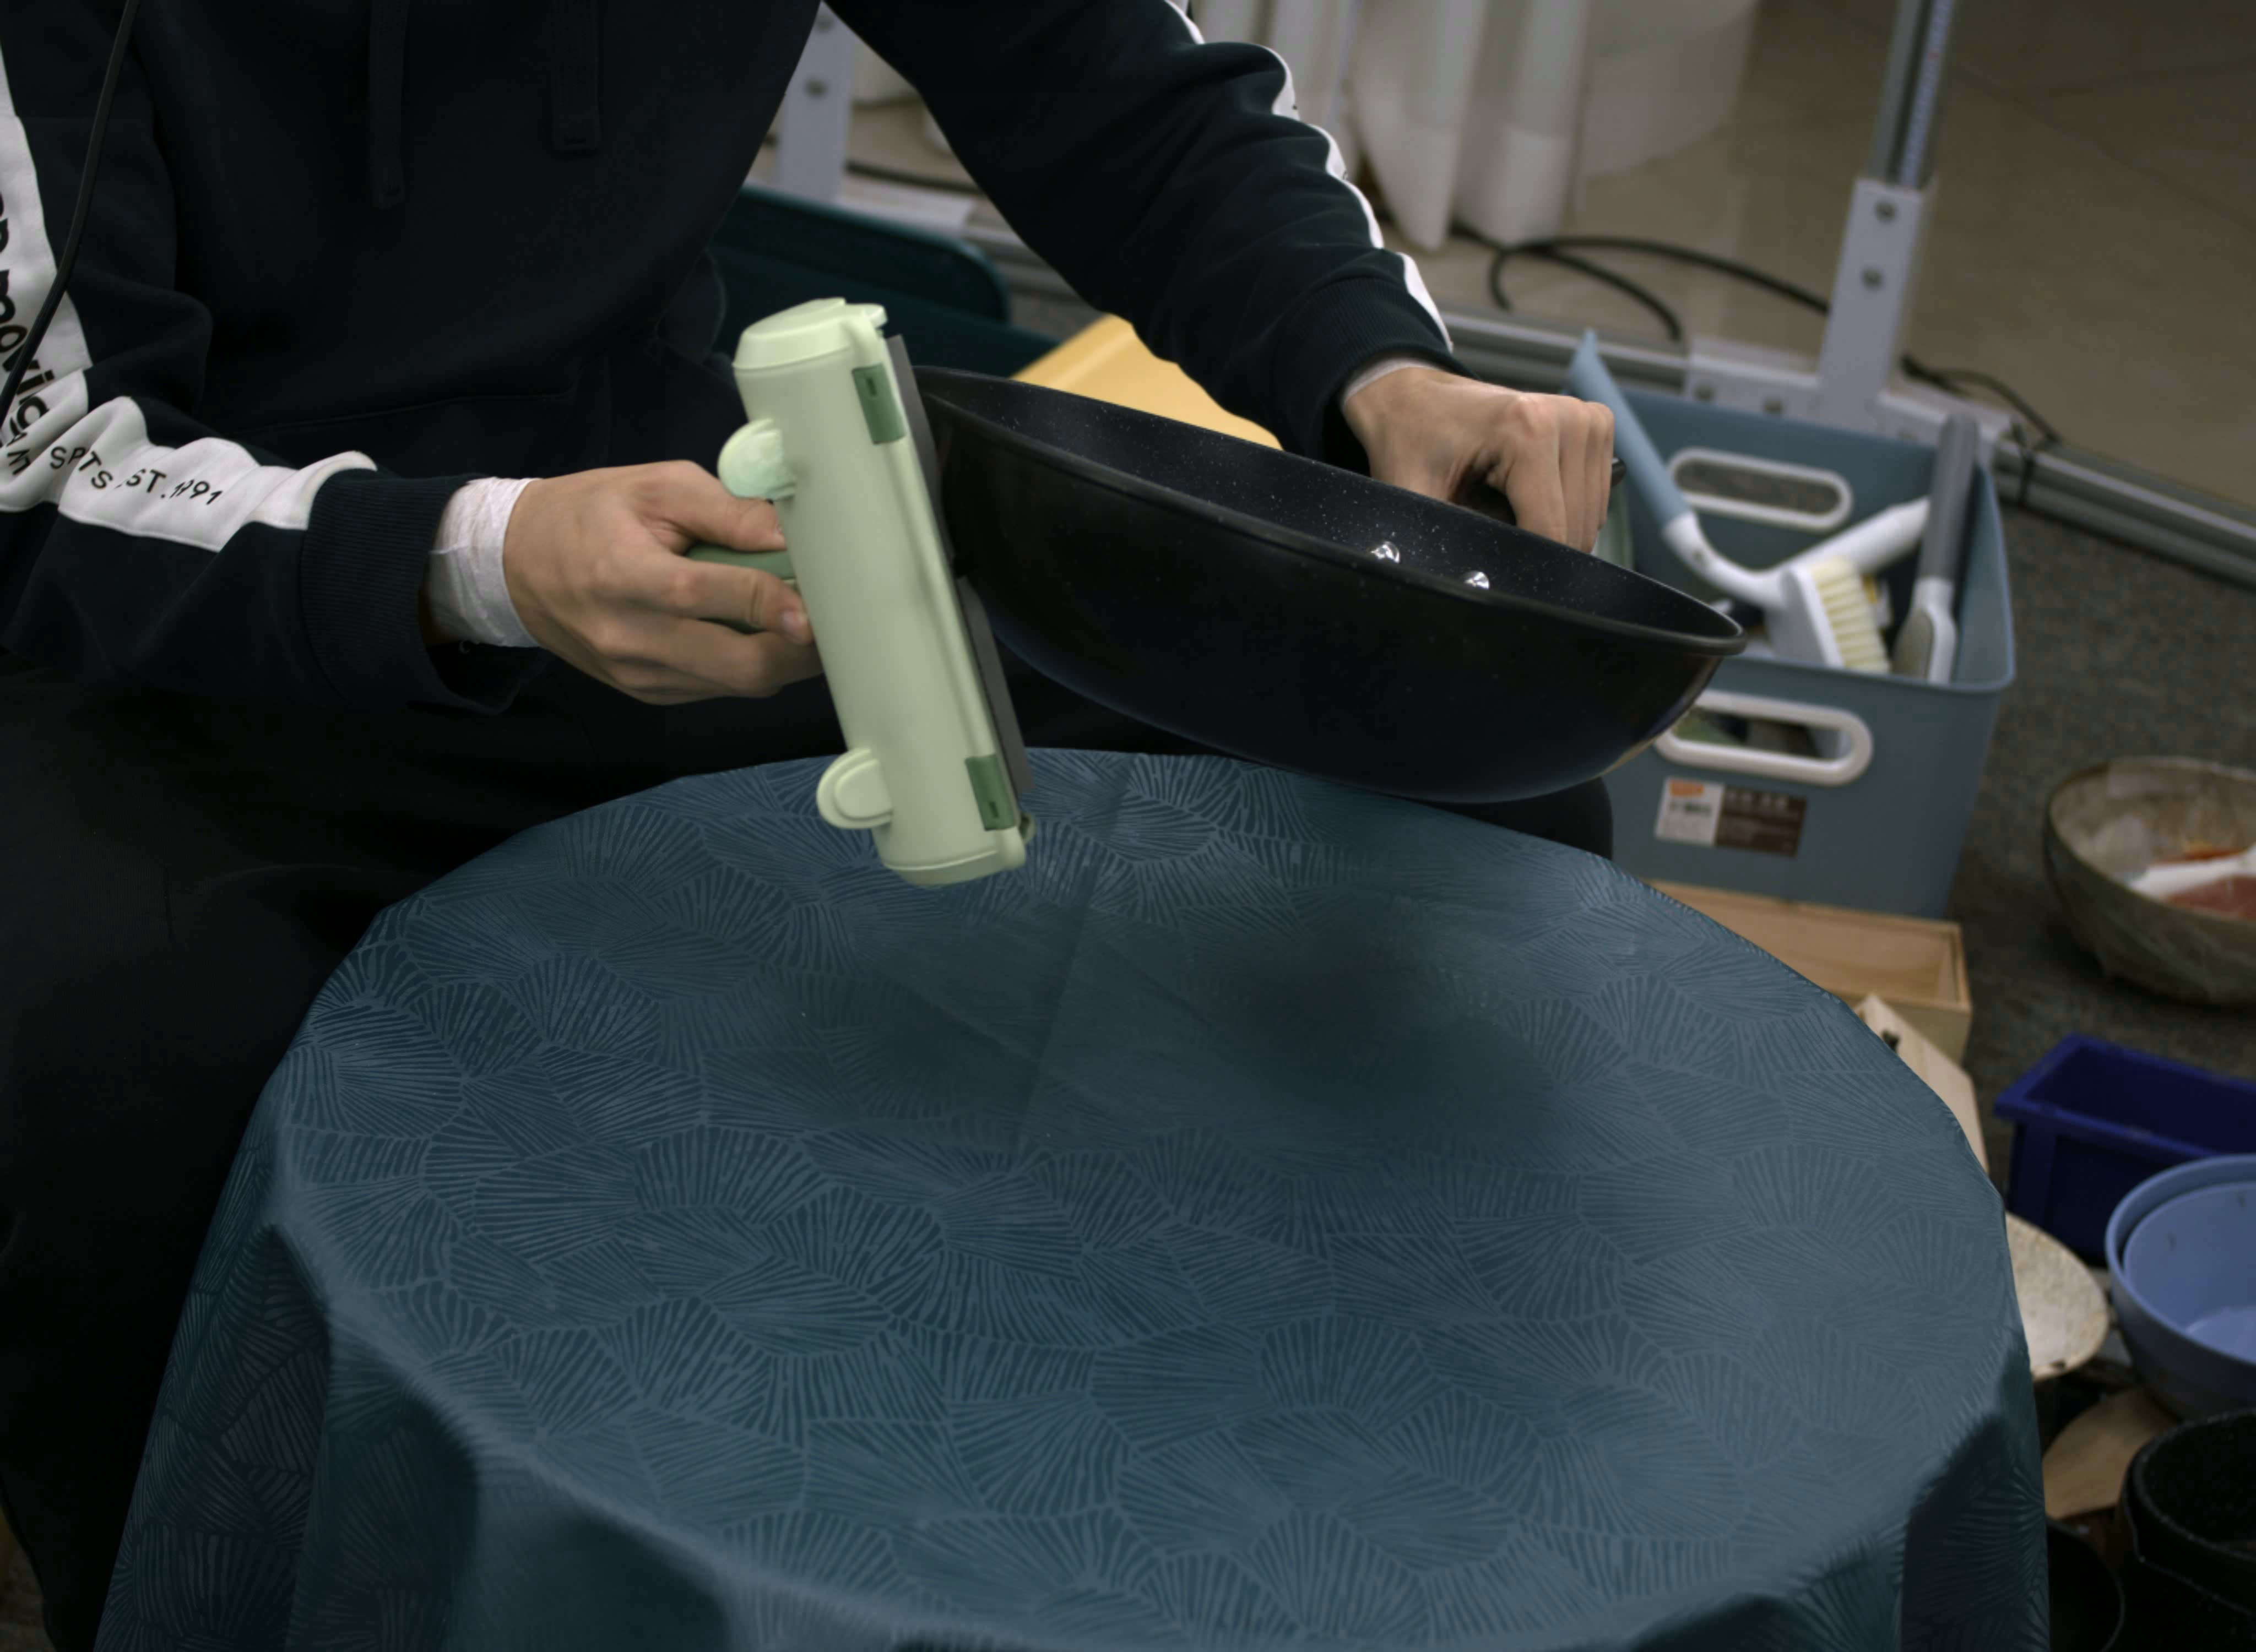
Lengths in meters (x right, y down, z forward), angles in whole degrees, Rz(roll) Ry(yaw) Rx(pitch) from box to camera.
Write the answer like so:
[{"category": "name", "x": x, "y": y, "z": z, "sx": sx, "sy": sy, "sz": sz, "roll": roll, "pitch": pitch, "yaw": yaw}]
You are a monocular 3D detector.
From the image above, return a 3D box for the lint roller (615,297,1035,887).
[{"category": "lint roller", "x": -0.128, "y": -0.071, "z": 1.803, "sx": 0.184, "sy": 0.198, "sz": 0.082, "roll": -6, "pitch": 17, "yaw": 41}]

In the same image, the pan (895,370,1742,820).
[{"category": "pan", "x": 0.086, "y": -0.084, "z": 1.912, "sx": 0.311, "sy": 0.112, "sz": 0.475, "roll": 21, "pitch": 10, "yaw": 19}]
